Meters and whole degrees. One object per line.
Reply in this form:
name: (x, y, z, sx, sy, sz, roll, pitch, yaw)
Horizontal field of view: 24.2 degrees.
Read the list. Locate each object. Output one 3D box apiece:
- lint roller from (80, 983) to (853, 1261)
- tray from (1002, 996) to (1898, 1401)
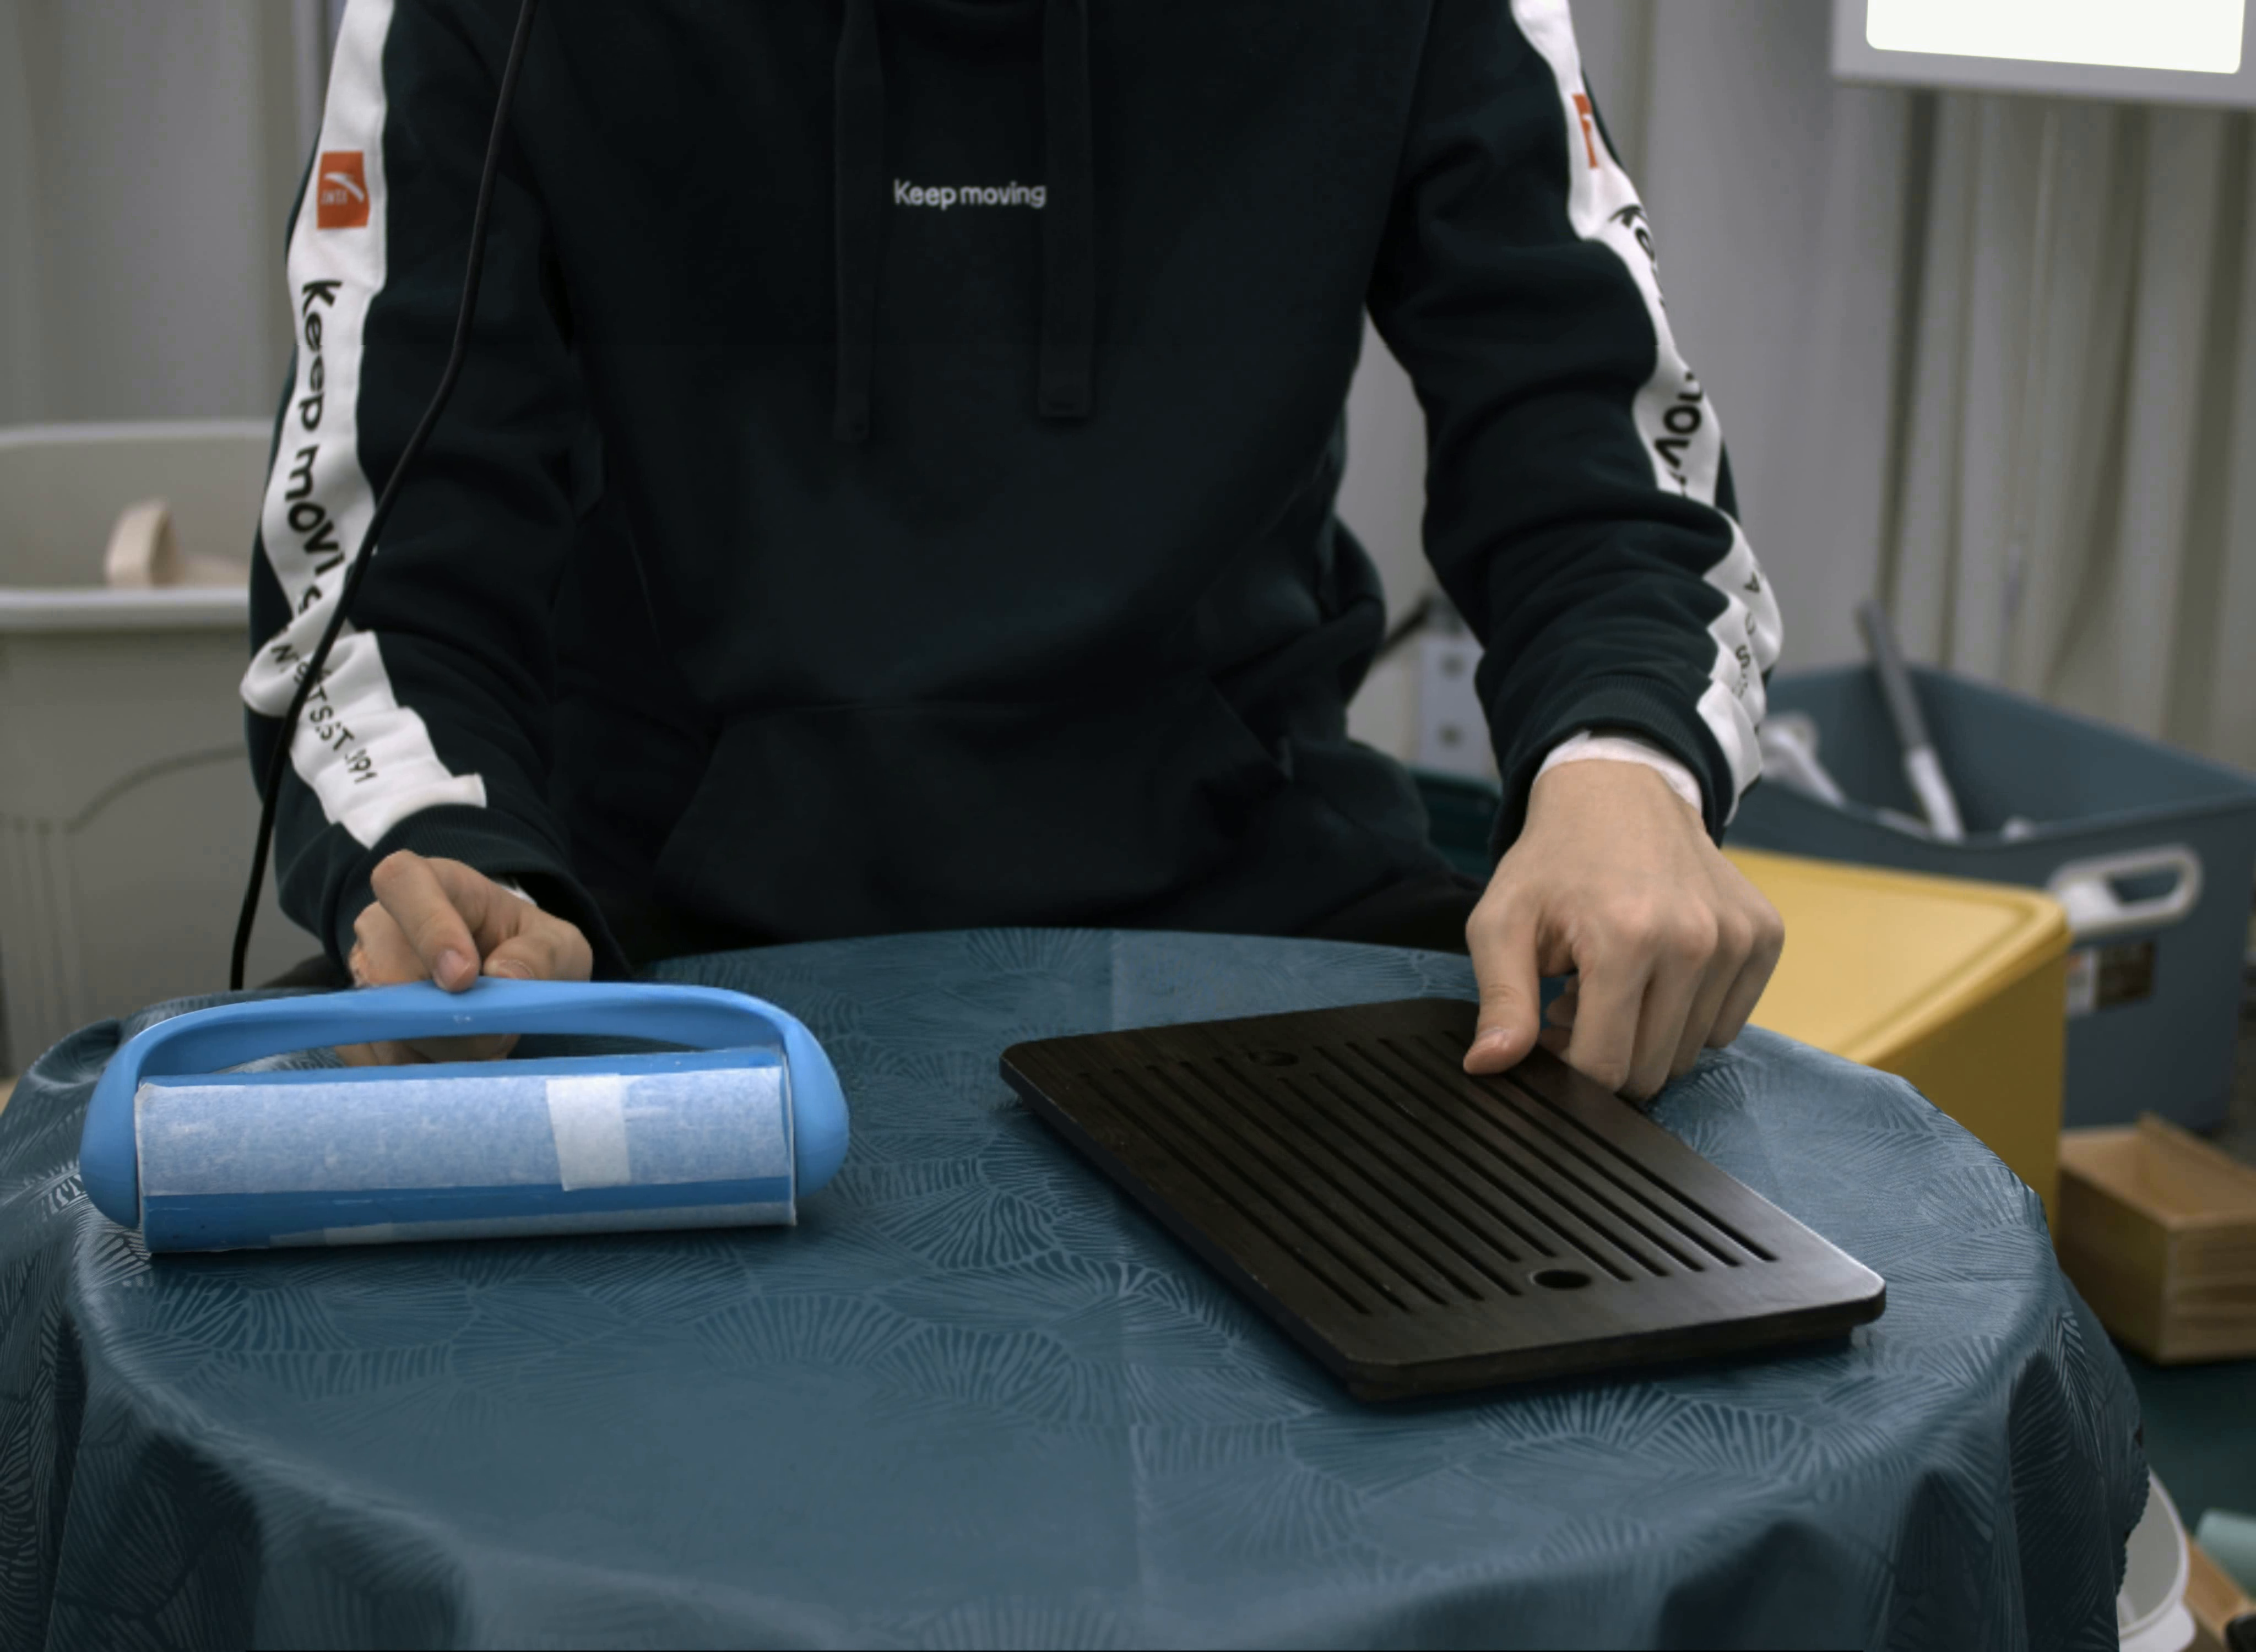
lint roller: (-0.207, 0.079, 1.624, 0.229, 0.068, 0.178, -5, 18, -10)
tray: (0.090, 0.109, 1.600, 0.170, 0.019, 0.302, -6, 17, -21)
